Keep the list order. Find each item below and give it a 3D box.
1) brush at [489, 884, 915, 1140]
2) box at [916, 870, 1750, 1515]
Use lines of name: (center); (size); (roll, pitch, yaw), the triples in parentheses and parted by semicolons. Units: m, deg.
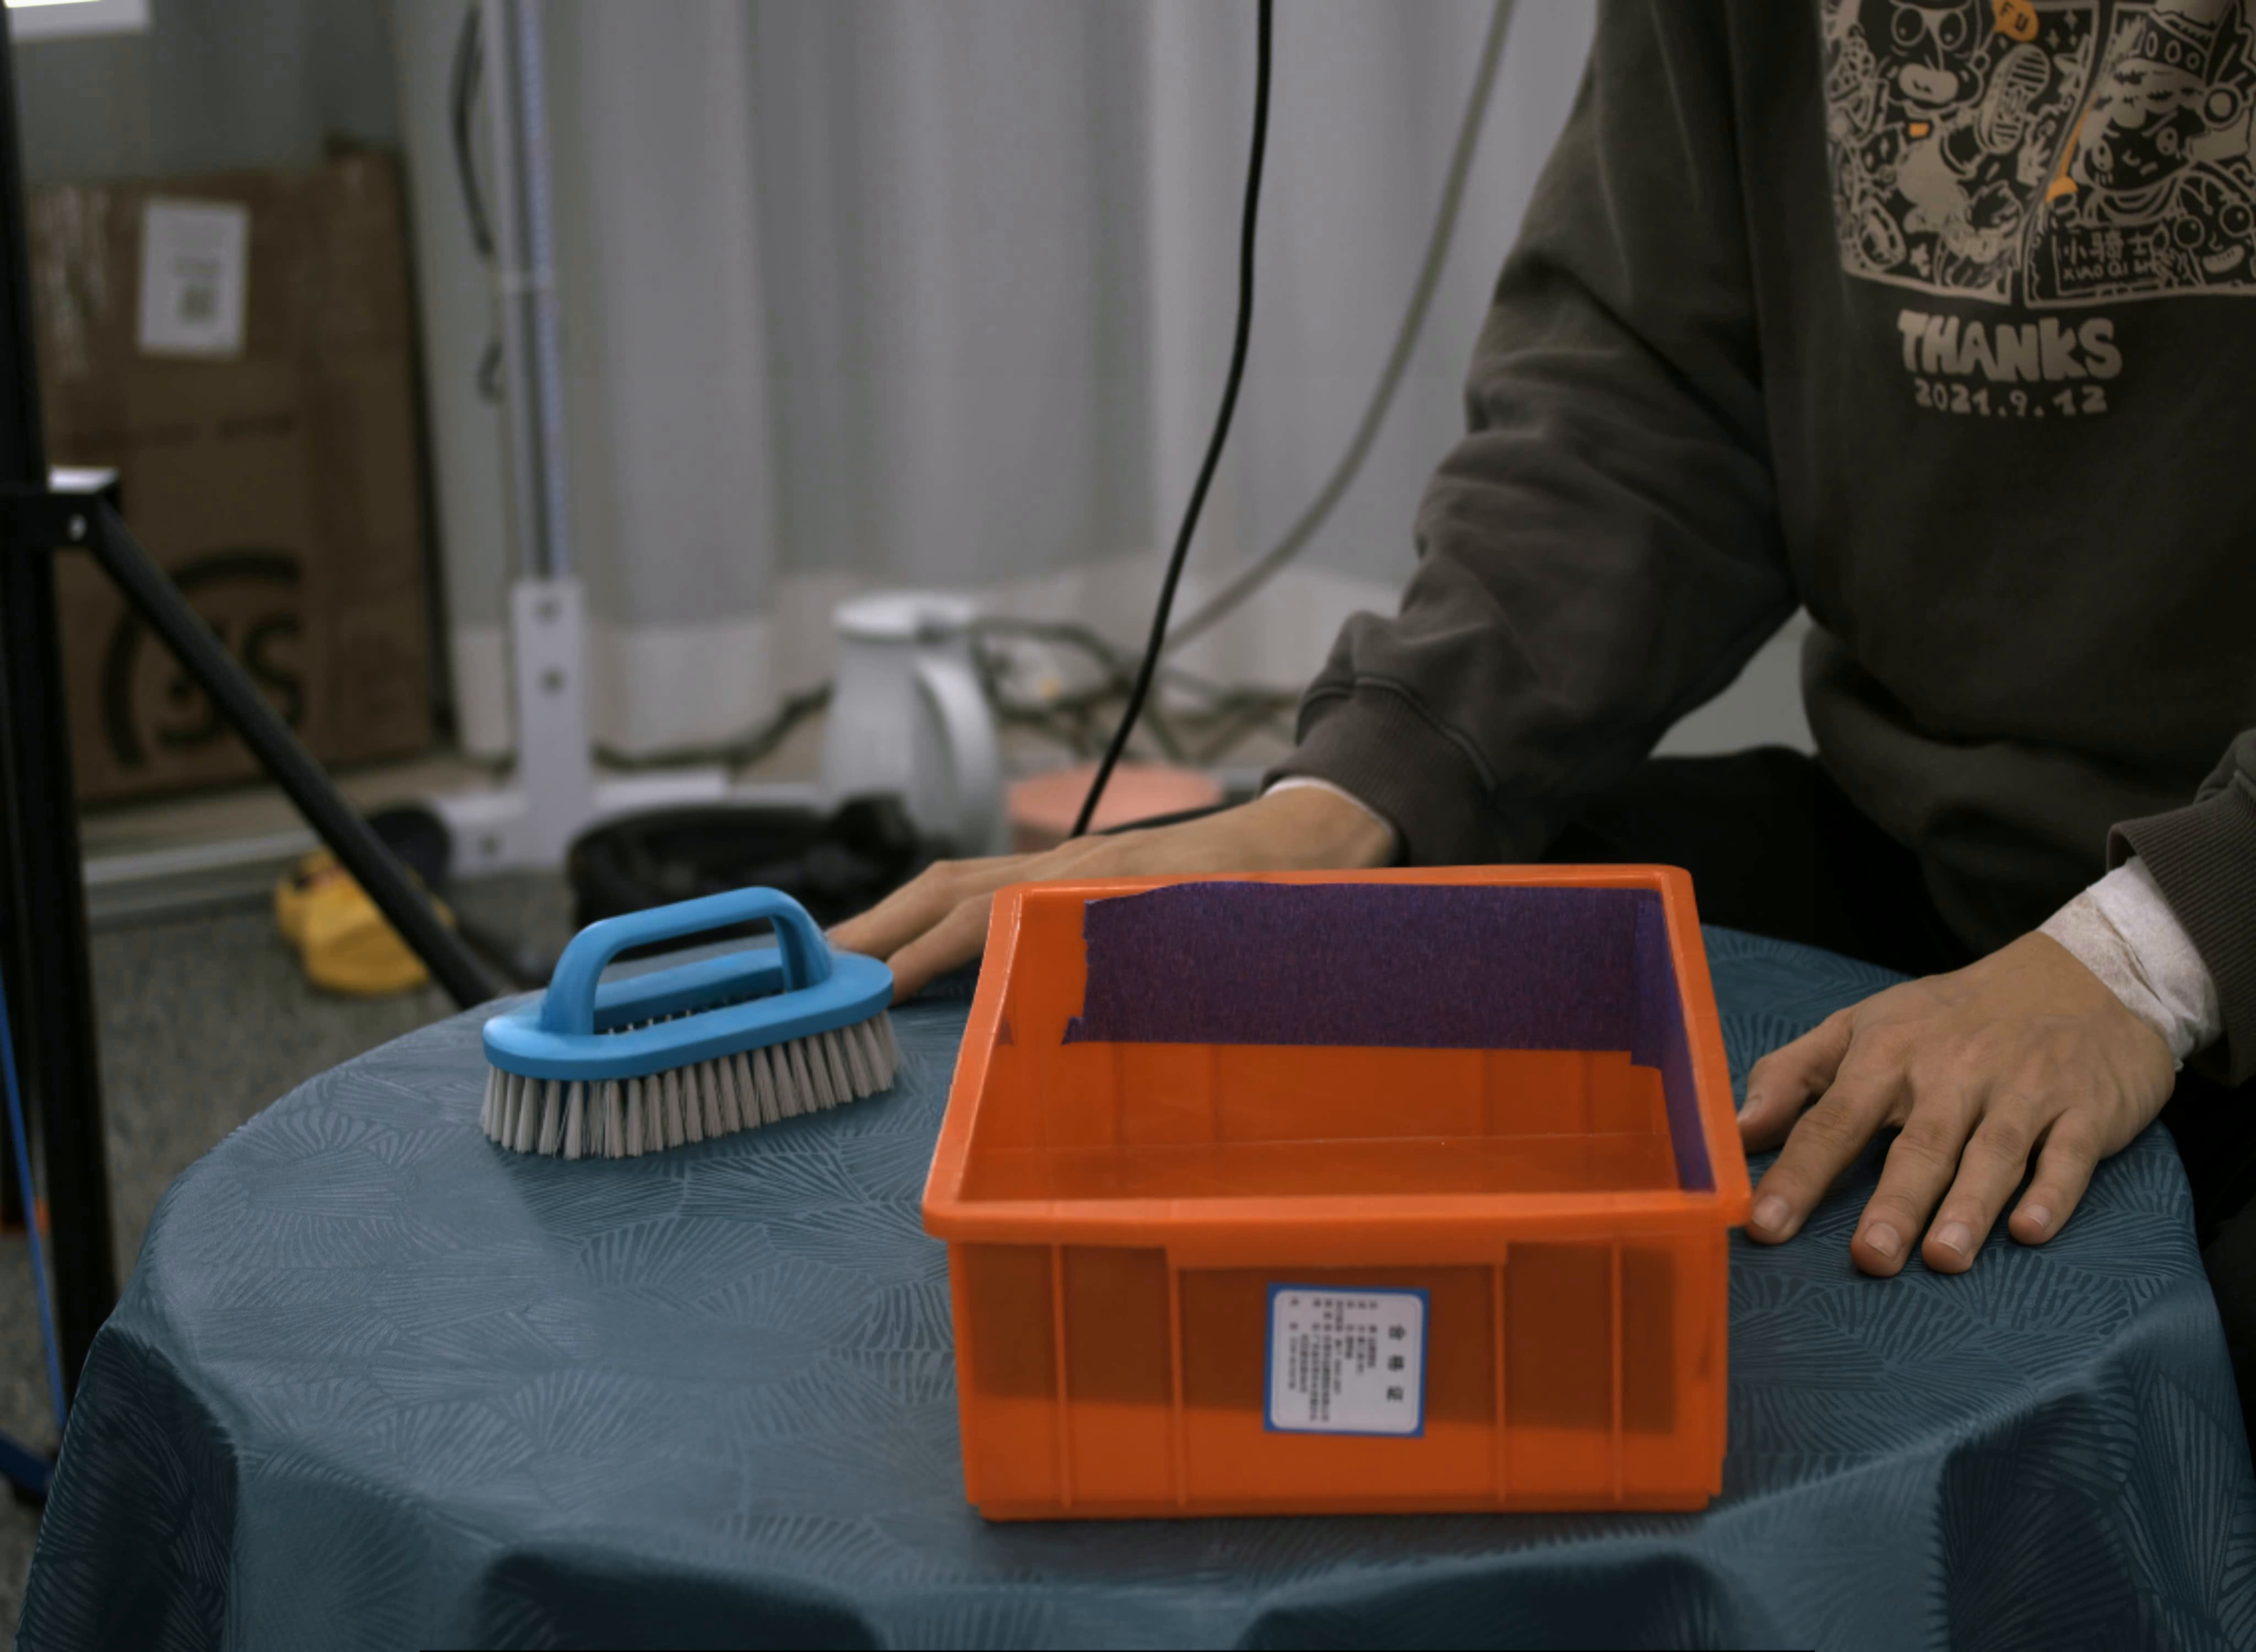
brush: (-0.135, 0.053, 1.658); (0.138, 0.064, 0.086); (-10, 12, -30)
box: (0.058, 0.095, 1.440); (0.206, 0.096, 0.304); (-1, 16, 4)
